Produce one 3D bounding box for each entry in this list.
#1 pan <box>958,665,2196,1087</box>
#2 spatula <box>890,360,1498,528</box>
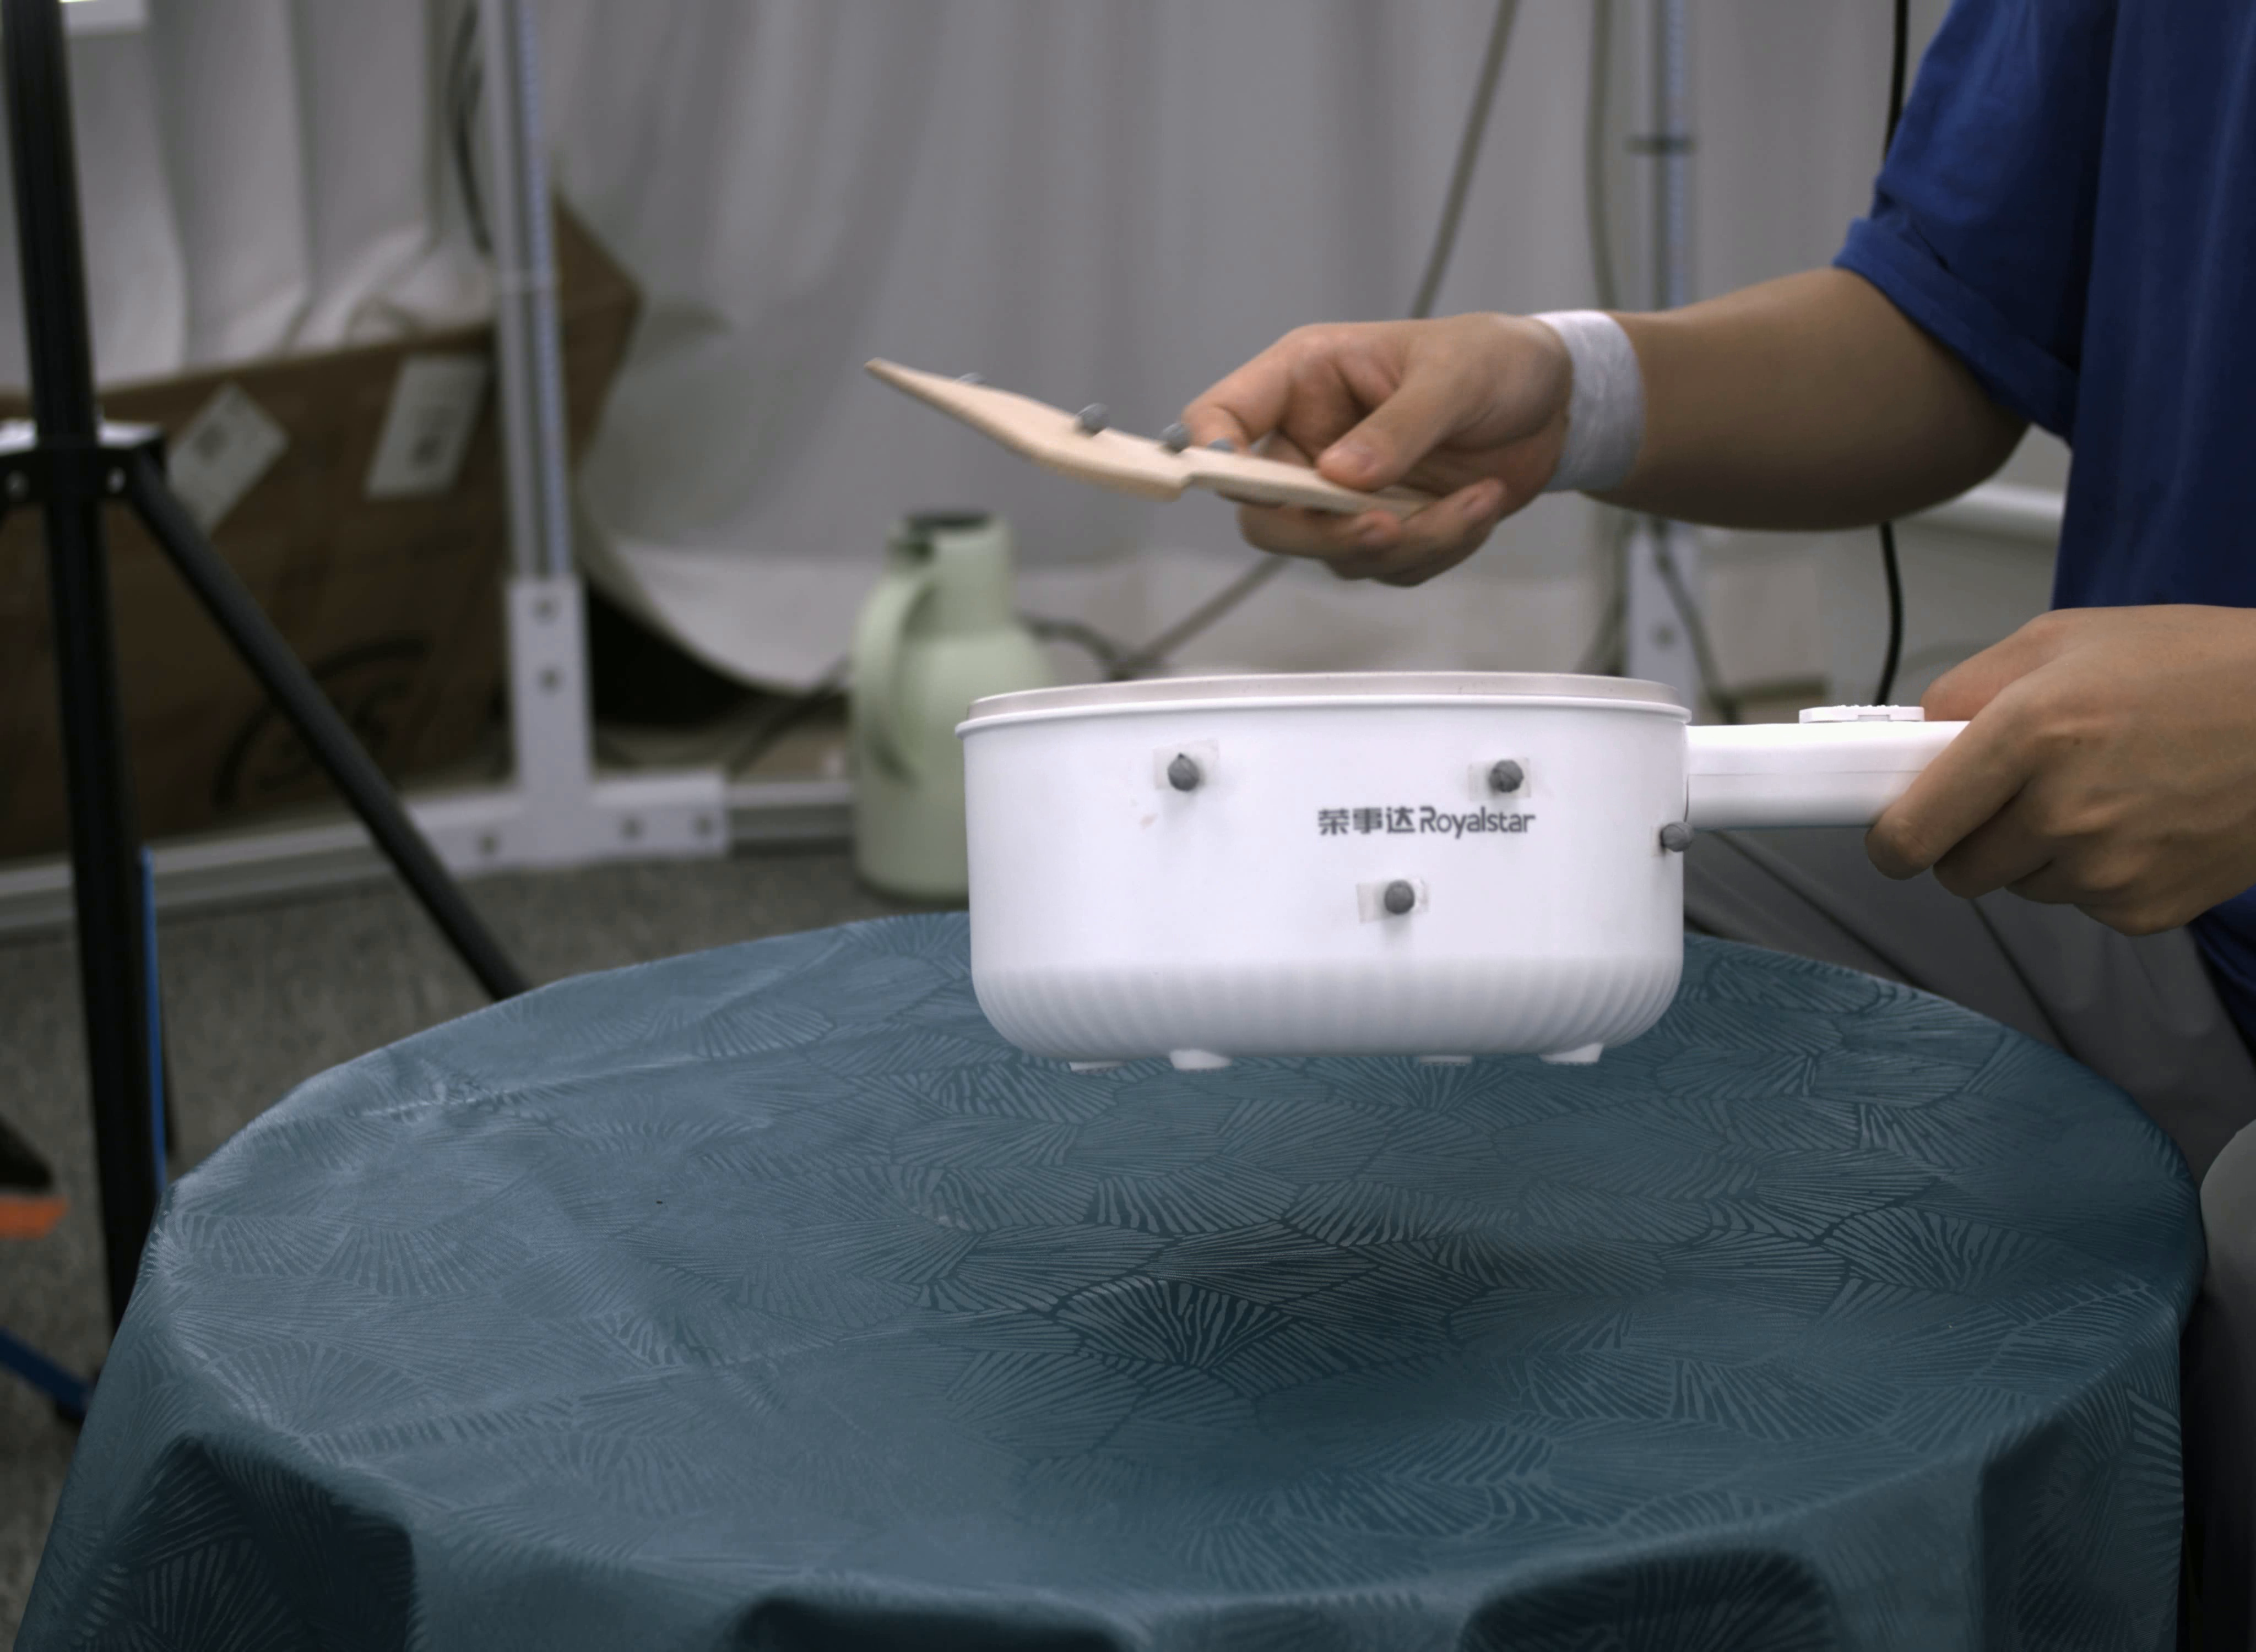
[{"bbox_3d":[0.128,0.017,1.461,0.349,0.103,0.203,0,-5,-15],"label":"pan"},{"bbox_3d":[0.033,-0.111,1.630,0.074,0.011,0.286,28,13,32],"label":"spatula"}]
